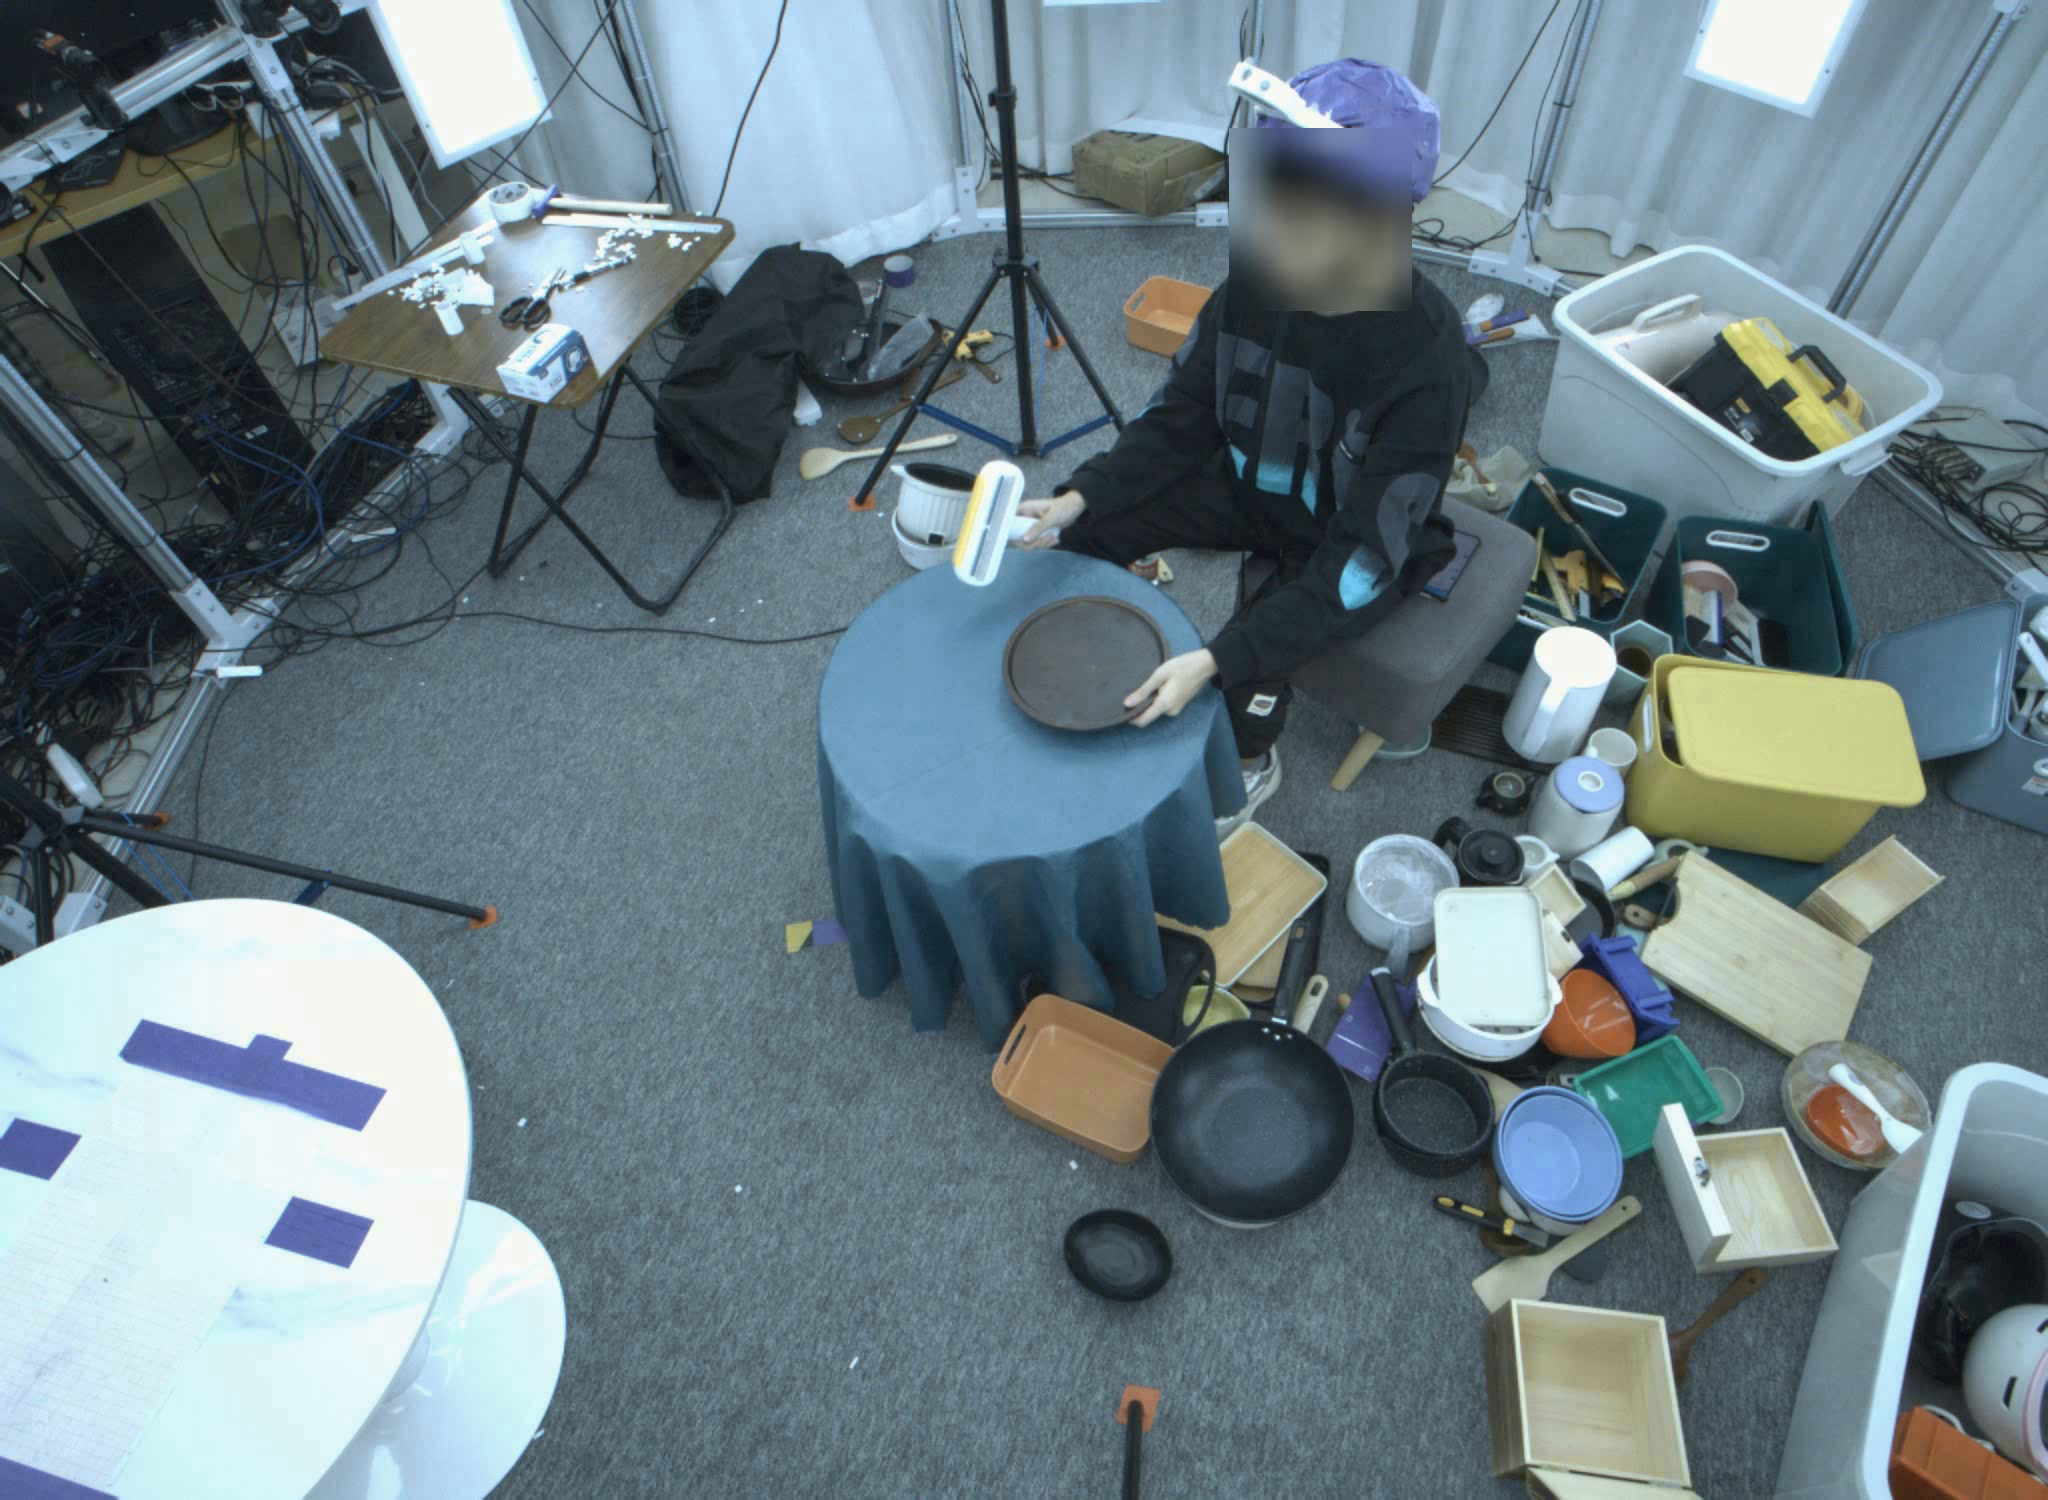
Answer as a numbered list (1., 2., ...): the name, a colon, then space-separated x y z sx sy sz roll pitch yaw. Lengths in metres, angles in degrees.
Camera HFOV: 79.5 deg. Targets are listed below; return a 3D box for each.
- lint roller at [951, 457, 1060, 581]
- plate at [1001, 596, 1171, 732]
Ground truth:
1. lint roller: -0.013 -0.346 1.892 0.197 0.193 0.072 8 18 -39
2. plate: 0.091 -0.129 1.825 0.254 0.029 0.252 -2 55 3
